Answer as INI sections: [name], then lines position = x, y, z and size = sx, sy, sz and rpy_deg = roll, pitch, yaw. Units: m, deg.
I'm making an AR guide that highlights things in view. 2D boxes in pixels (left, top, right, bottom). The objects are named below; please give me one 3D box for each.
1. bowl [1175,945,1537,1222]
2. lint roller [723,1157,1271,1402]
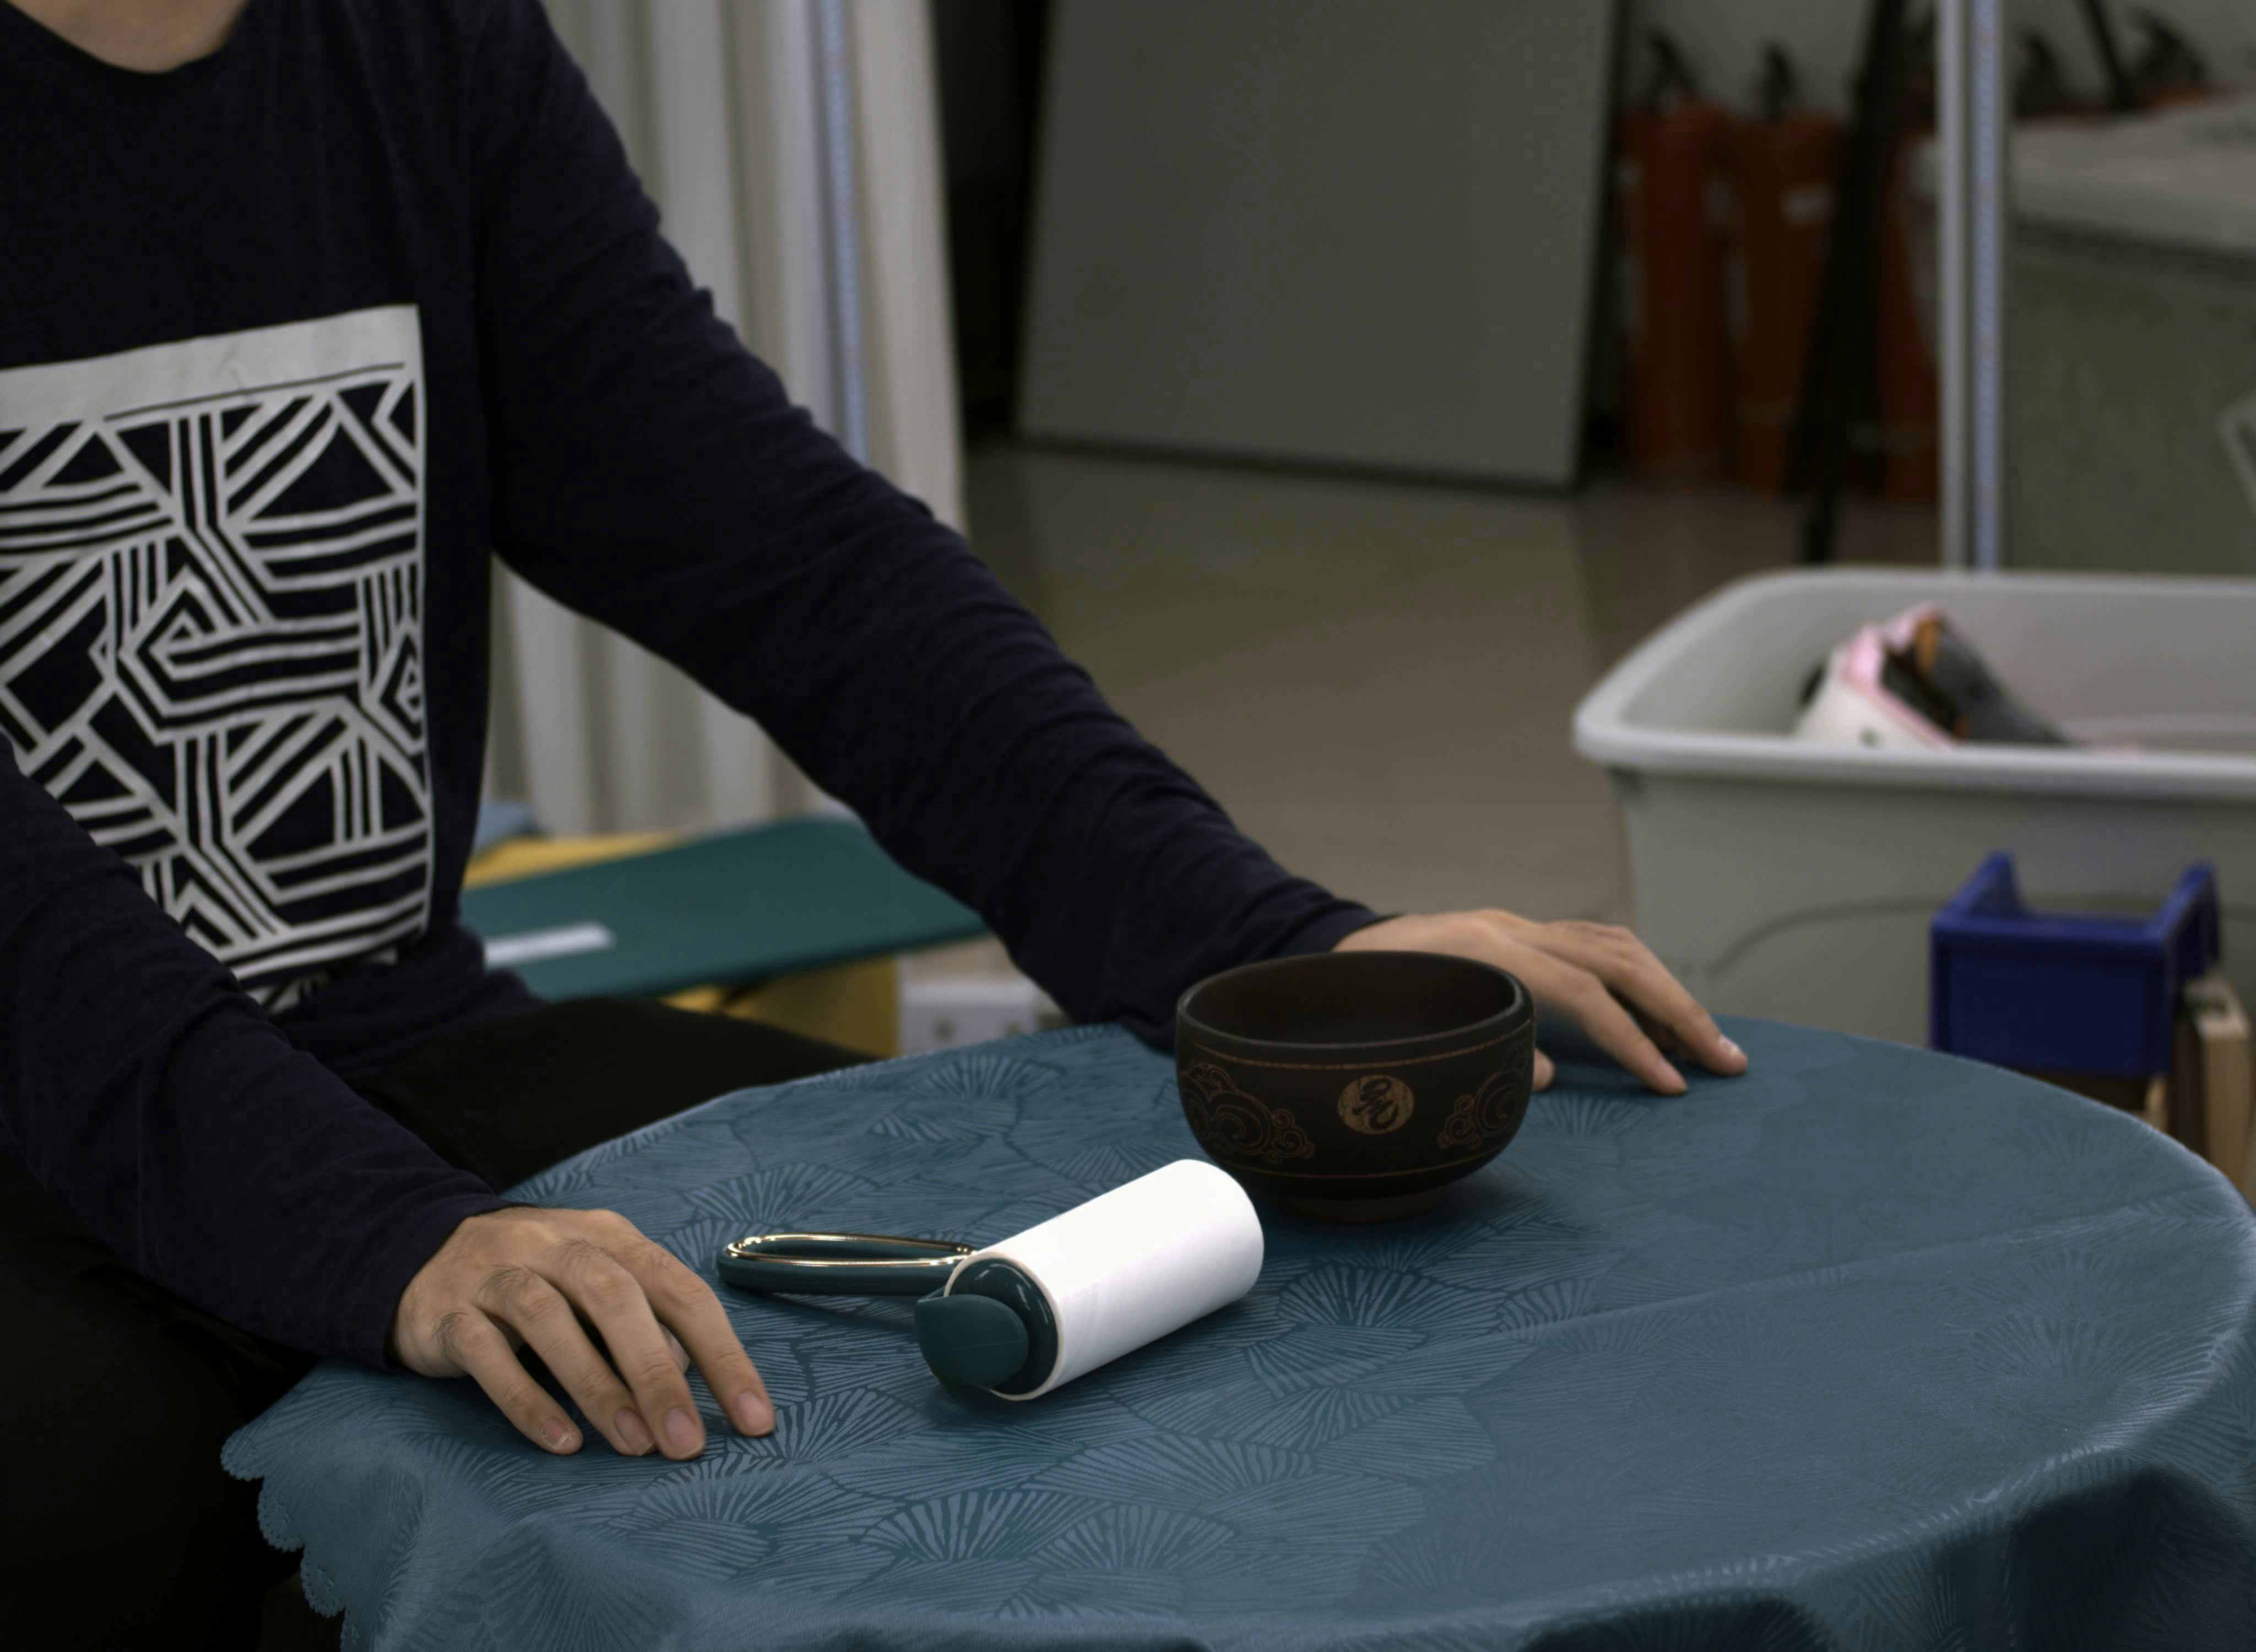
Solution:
[bowl]
position = 0.075, 0.086, 1.742
size = 0.116, 0.070, 0.118
rpy_deg = -6, 13, 1
[lint roller]
position = -0.059, 0.134, 1.659
size = 0.181, 0.049, 0.132
rpy_deg = 1, 14, 40
